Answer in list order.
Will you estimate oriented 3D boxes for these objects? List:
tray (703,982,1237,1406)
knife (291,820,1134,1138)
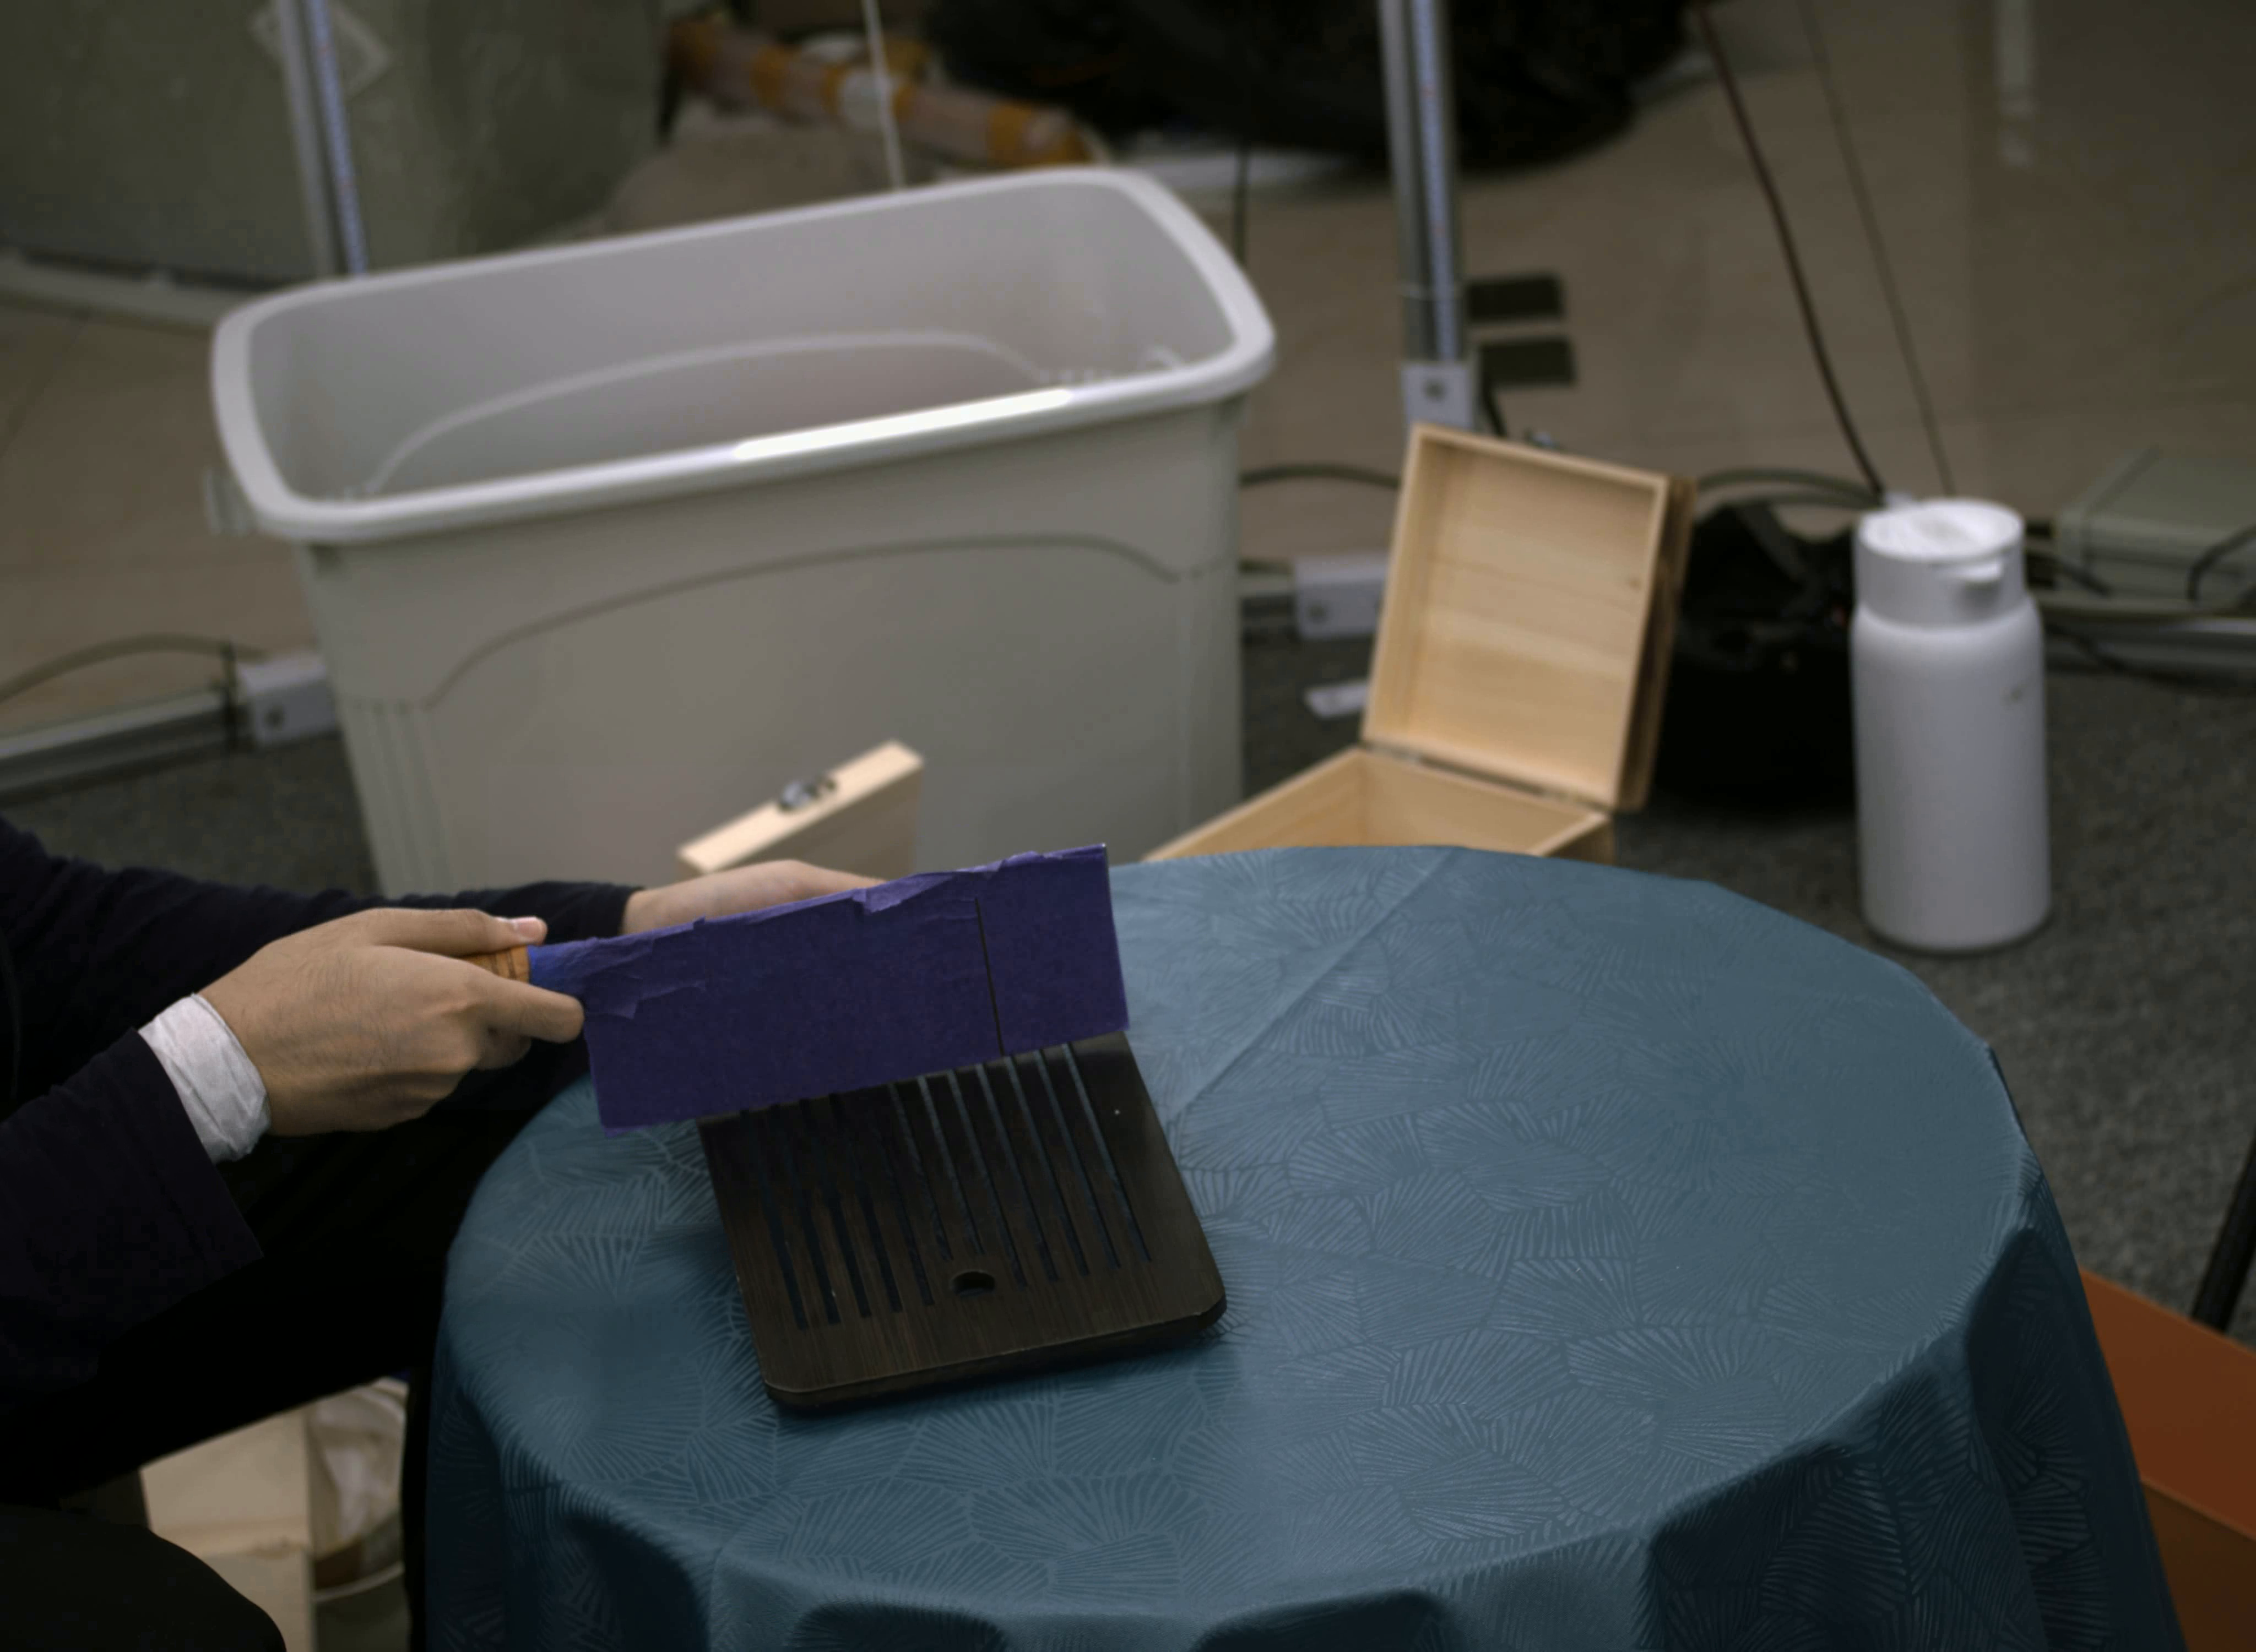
[{"bbox_3d":[-0.072,0.119,2.152,0.170,0.019,0.301,-11,32,-7],"label":"tray"},{"bbox_3d":[-0.152,0.072,2.136,0.314,0.106,0.031,-11,33,-5],"label":"knife"}]
